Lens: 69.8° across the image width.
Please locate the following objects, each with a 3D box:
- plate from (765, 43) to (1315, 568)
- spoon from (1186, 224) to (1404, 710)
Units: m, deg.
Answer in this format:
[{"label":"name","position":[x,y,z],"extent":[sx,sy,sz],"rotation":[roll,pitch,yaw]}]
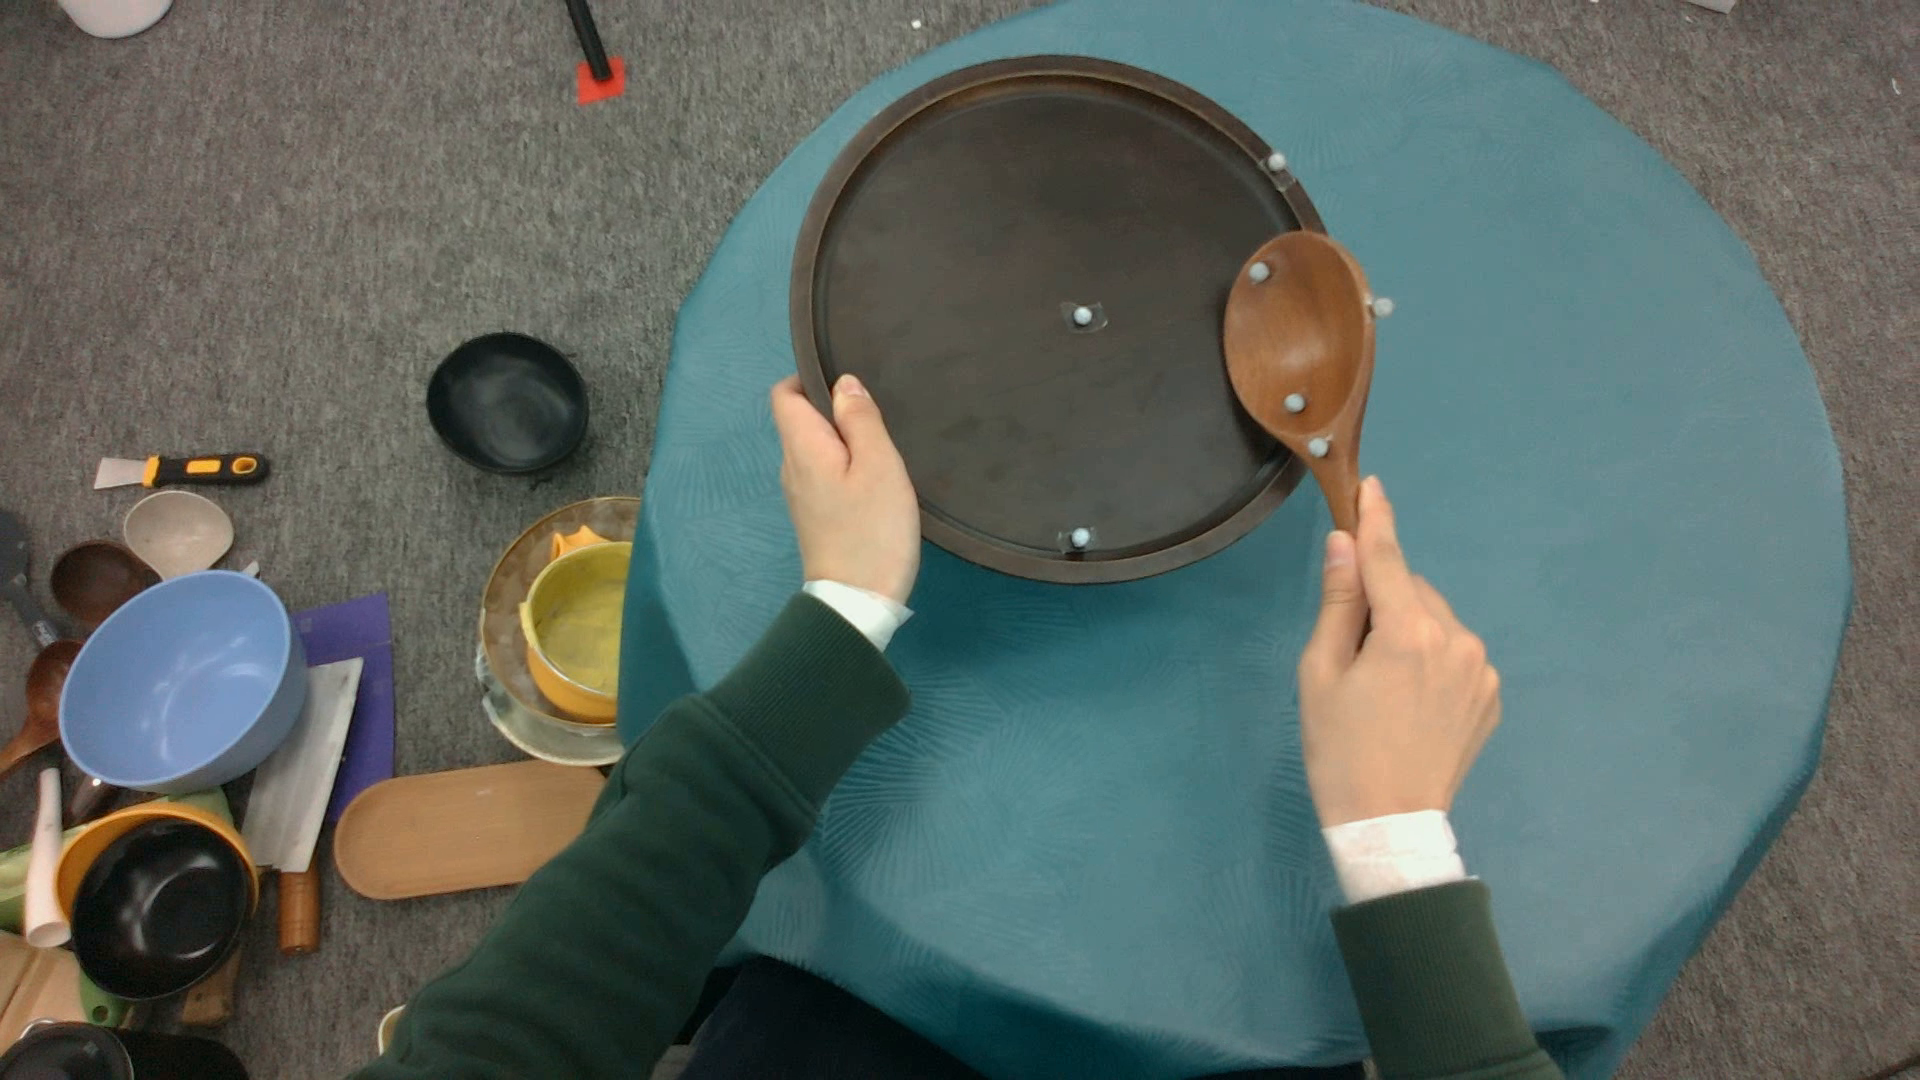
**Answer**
[{"label":"plate","position":[0.040,-0.109,0.622],"extent":[0.255,0.029,0.255],"rotation":[2,74,-7]},{"label":"spoon","position":[0.147,-0.034,0.582],"extent":[0.017,0.075,0.216],"rotation":[4,67,-44]}]
